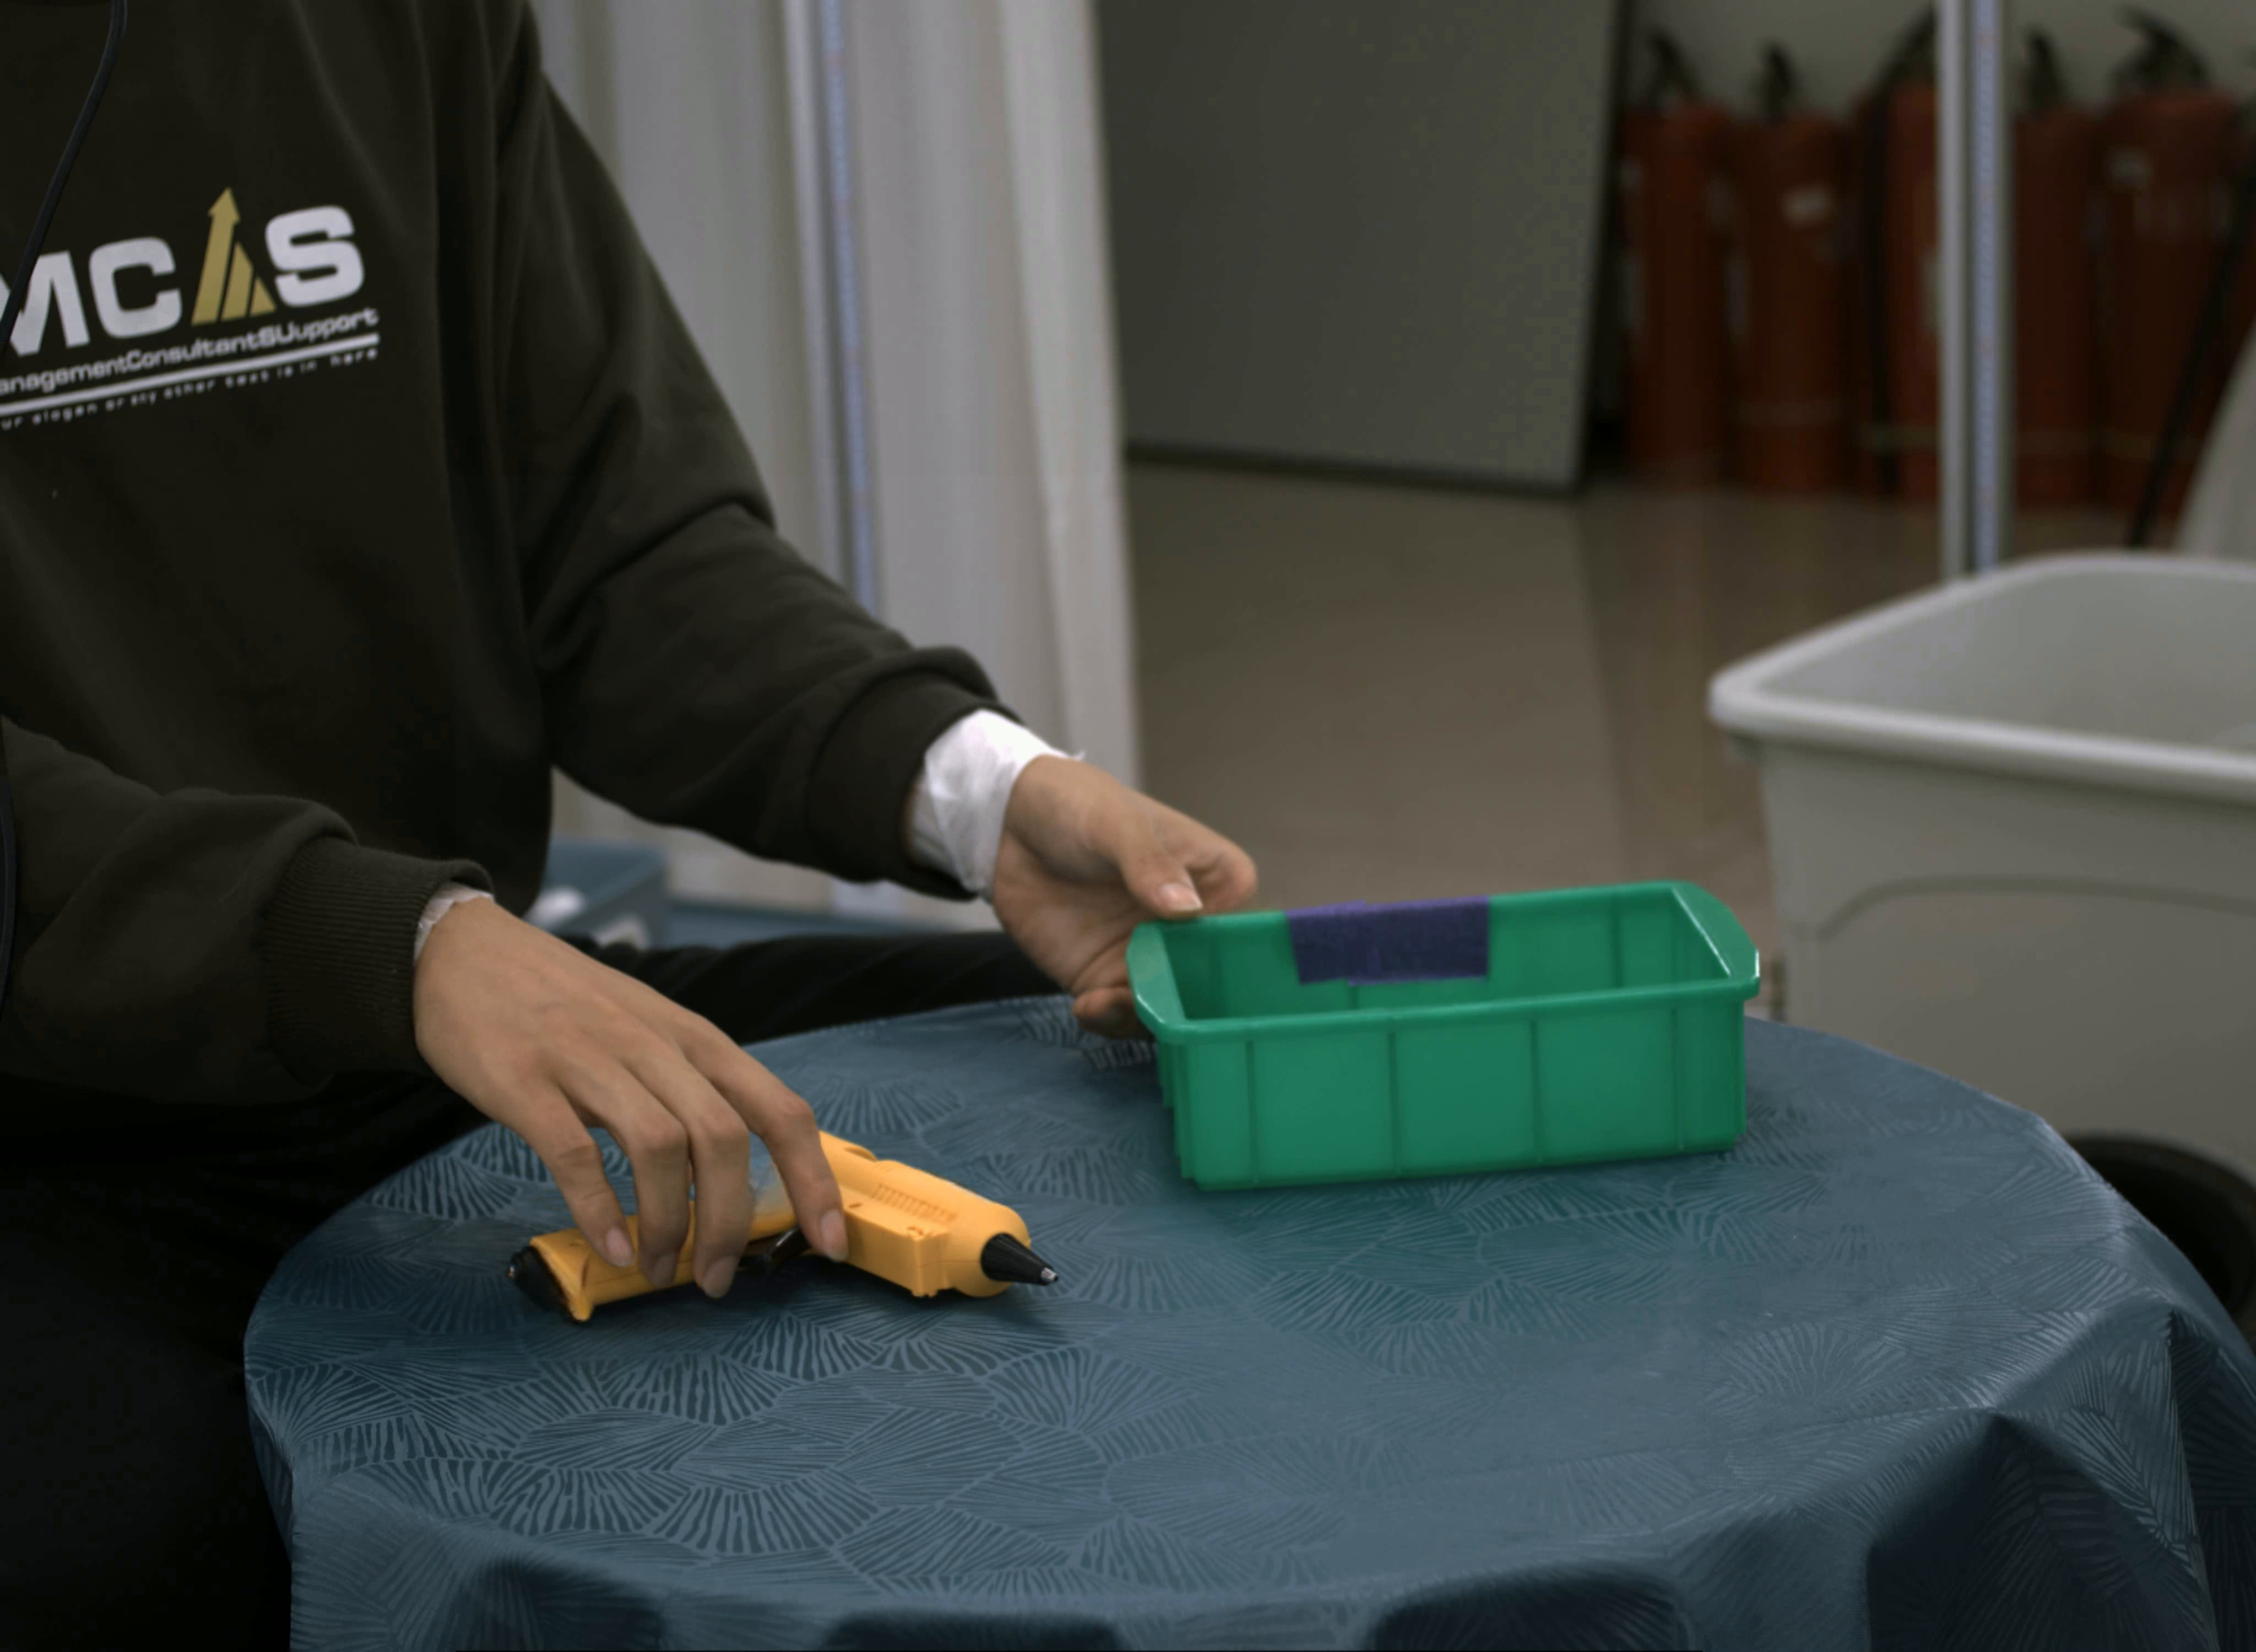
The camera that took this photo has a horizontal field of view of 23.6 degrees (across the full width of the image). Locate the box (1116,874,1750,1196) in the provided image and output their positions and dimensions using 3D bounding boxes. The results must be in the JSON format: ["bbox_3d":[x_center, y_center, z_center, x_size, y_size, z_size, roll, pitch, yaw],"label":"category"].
[{"bbox_3d":[0.104,0.071,1.821,0.207,0.066,0.139,-7,12,-3],"label":"box"}]

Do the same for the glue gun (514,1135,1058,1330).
[{"bbox_3d":[-0.098,0.139,1.688,0.130,0.031,0.153,-17,19,-36],"label":"glue gun"}]
